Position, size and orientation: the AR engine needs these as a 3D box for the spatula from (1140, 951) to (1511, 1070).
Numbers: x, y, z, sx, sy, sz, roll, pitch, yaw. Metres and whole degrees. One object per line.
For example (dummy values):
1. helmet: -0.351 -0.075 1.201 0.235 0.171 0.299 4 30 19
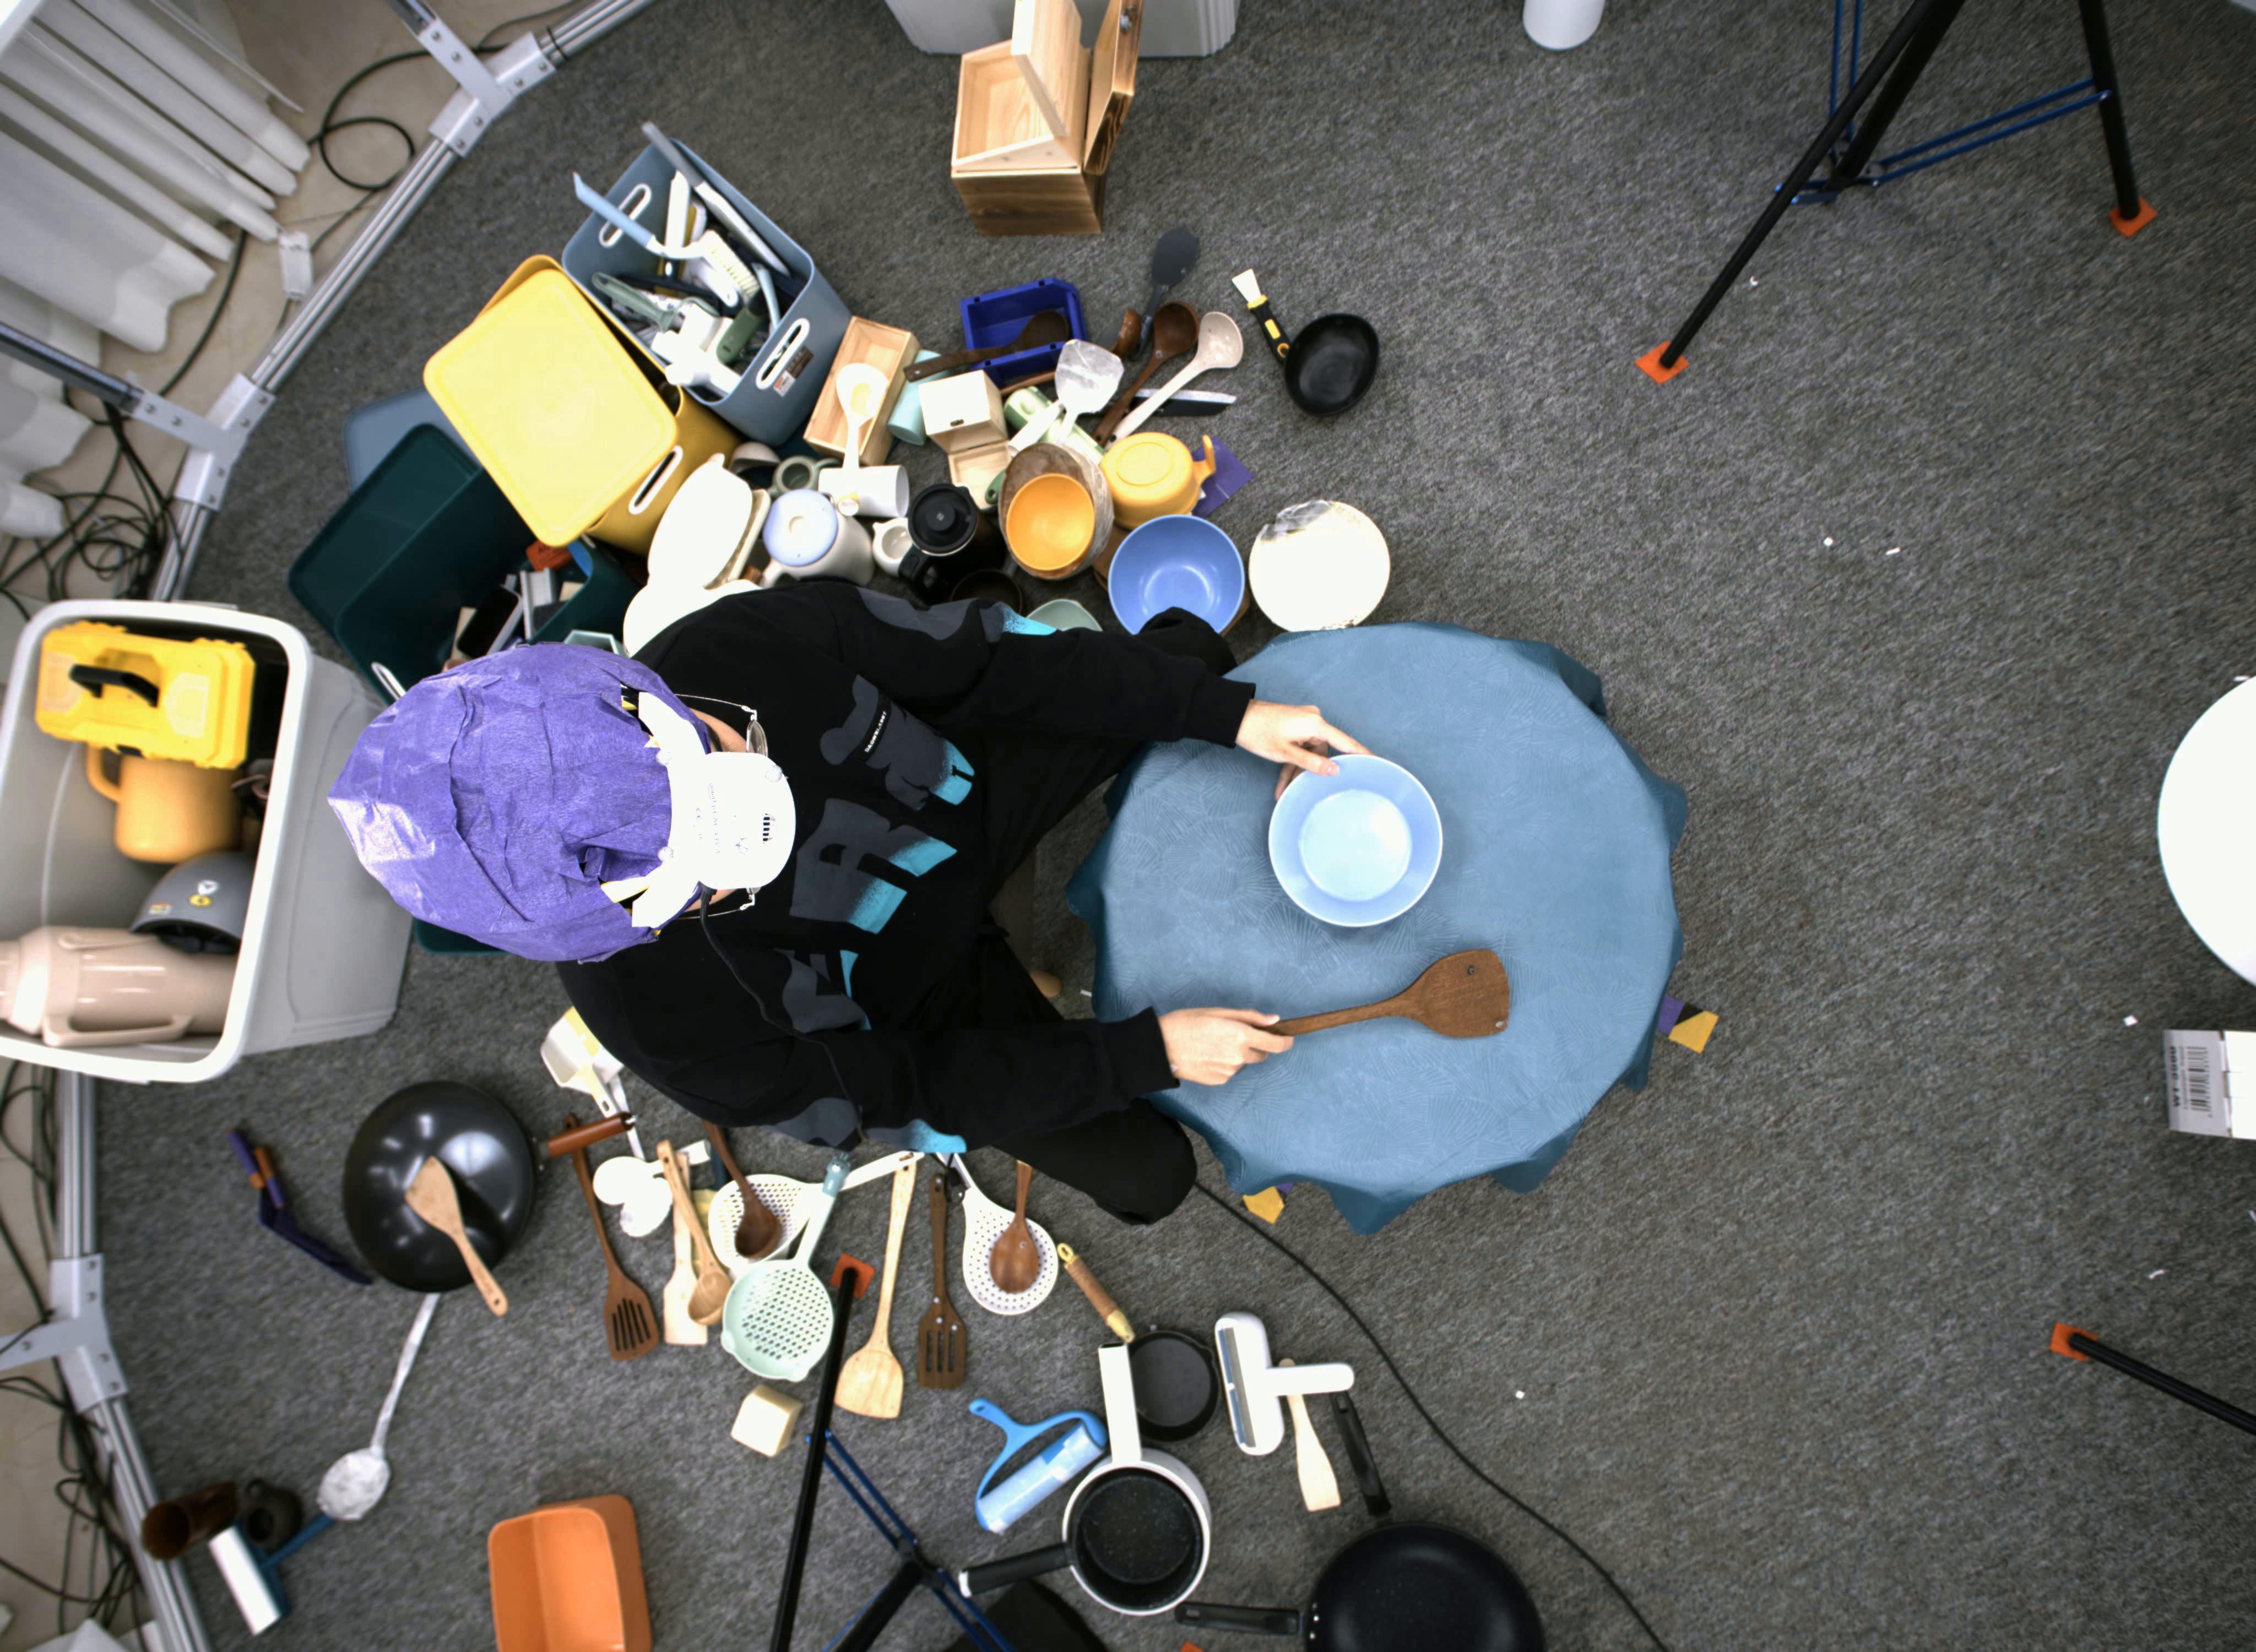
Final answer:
1. spatula: 0.202 0.202 1.422 0.387 0.015 0.097 -11 106 2

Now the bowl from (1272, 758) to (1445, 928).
1. bowl: 0.240 0.019 1.439 0.177 0.070 0.175 -1 85 12
